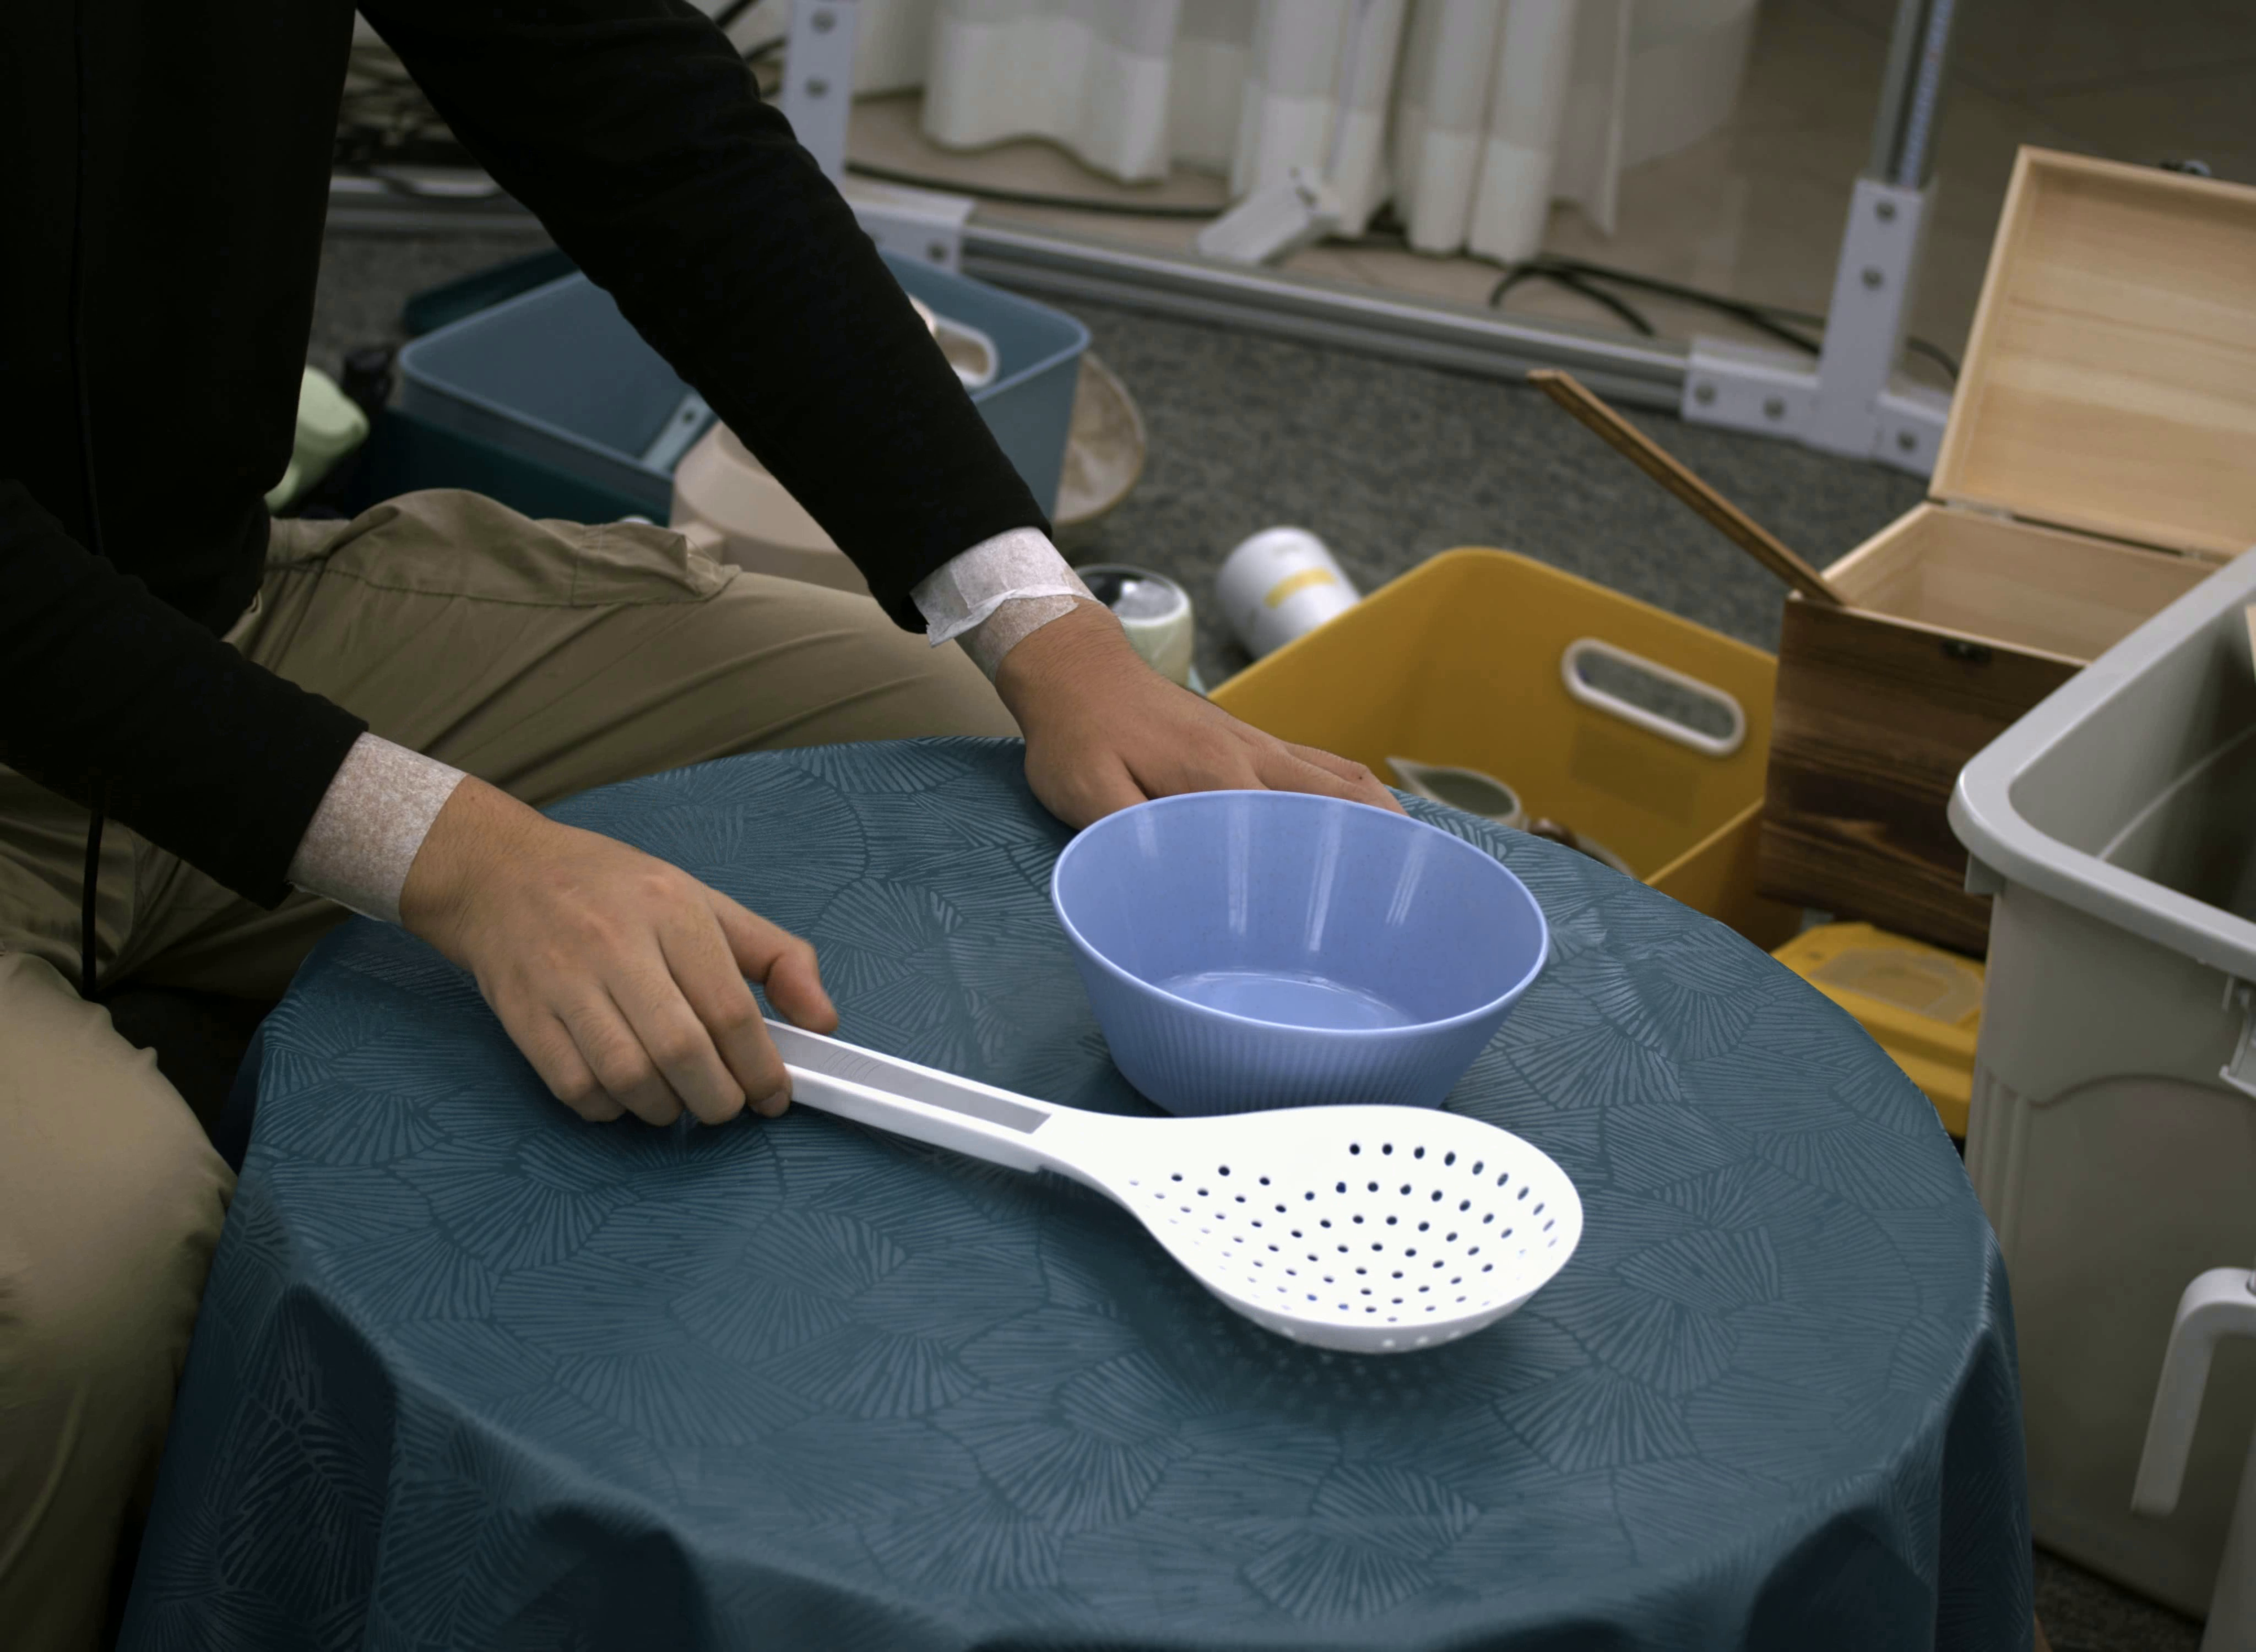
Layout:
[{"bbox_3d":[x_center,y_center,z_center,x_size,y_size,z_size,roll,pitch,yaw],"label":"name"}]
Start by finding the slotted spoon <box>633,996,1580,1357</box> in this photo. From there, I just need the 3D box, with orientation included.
[{"bbox_3d":[-0.015,0.108,1.777,0.351,0.045,0.136,18,35,24],"label":"slotted spoon"}]

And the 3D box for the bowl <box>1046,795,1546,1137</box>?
[{"bbox_3d":[0.056,0.056,1.871,0.175,0.070,0.177,4,27,-2],"label":"bowl"}]
